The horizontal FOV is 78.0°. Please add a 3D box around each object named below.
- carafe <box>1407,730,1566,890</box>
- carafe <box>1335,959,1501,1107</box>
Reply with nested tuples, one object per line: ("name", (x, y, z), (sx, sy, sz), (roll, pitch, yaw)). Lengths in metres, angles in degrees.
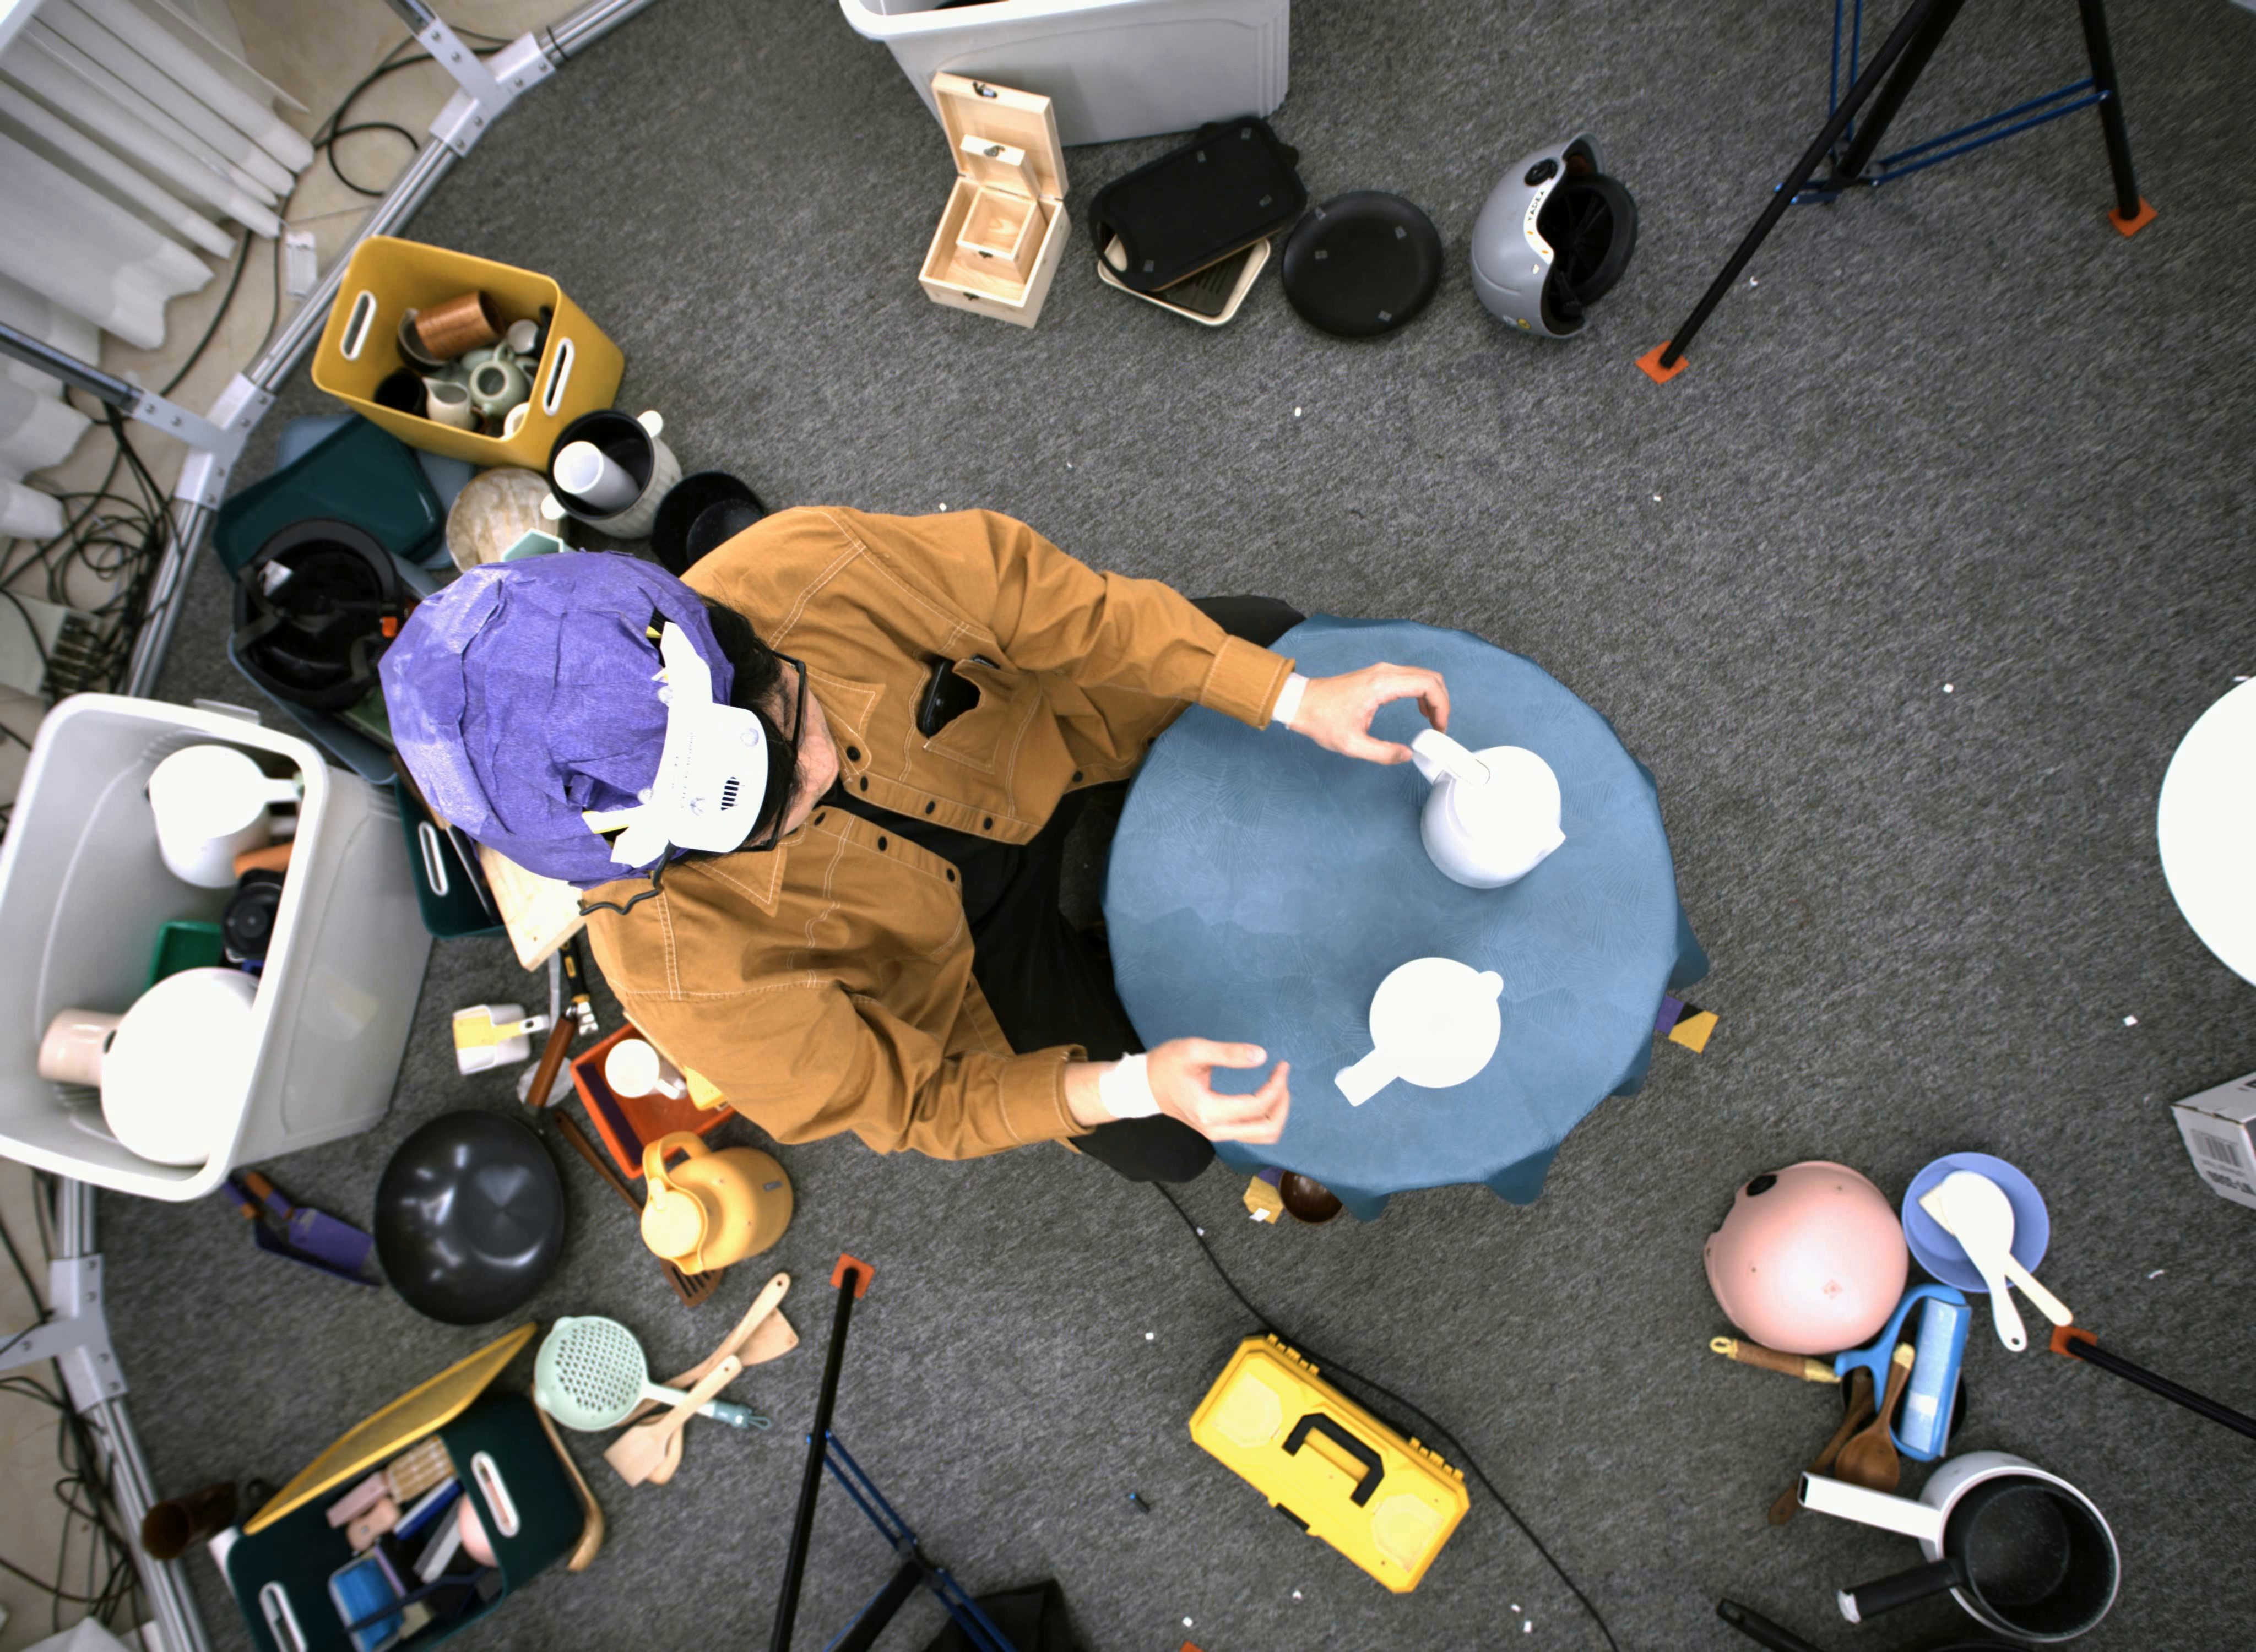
("carafe", (0.338, -0.025, 1.326), (0.167, 0.249, 0.133), (41, 93, 12))
("carafe", (0.276, 0.197, 1.319), (0.173, 0.269, 0.123), (-39, 81, 5))
